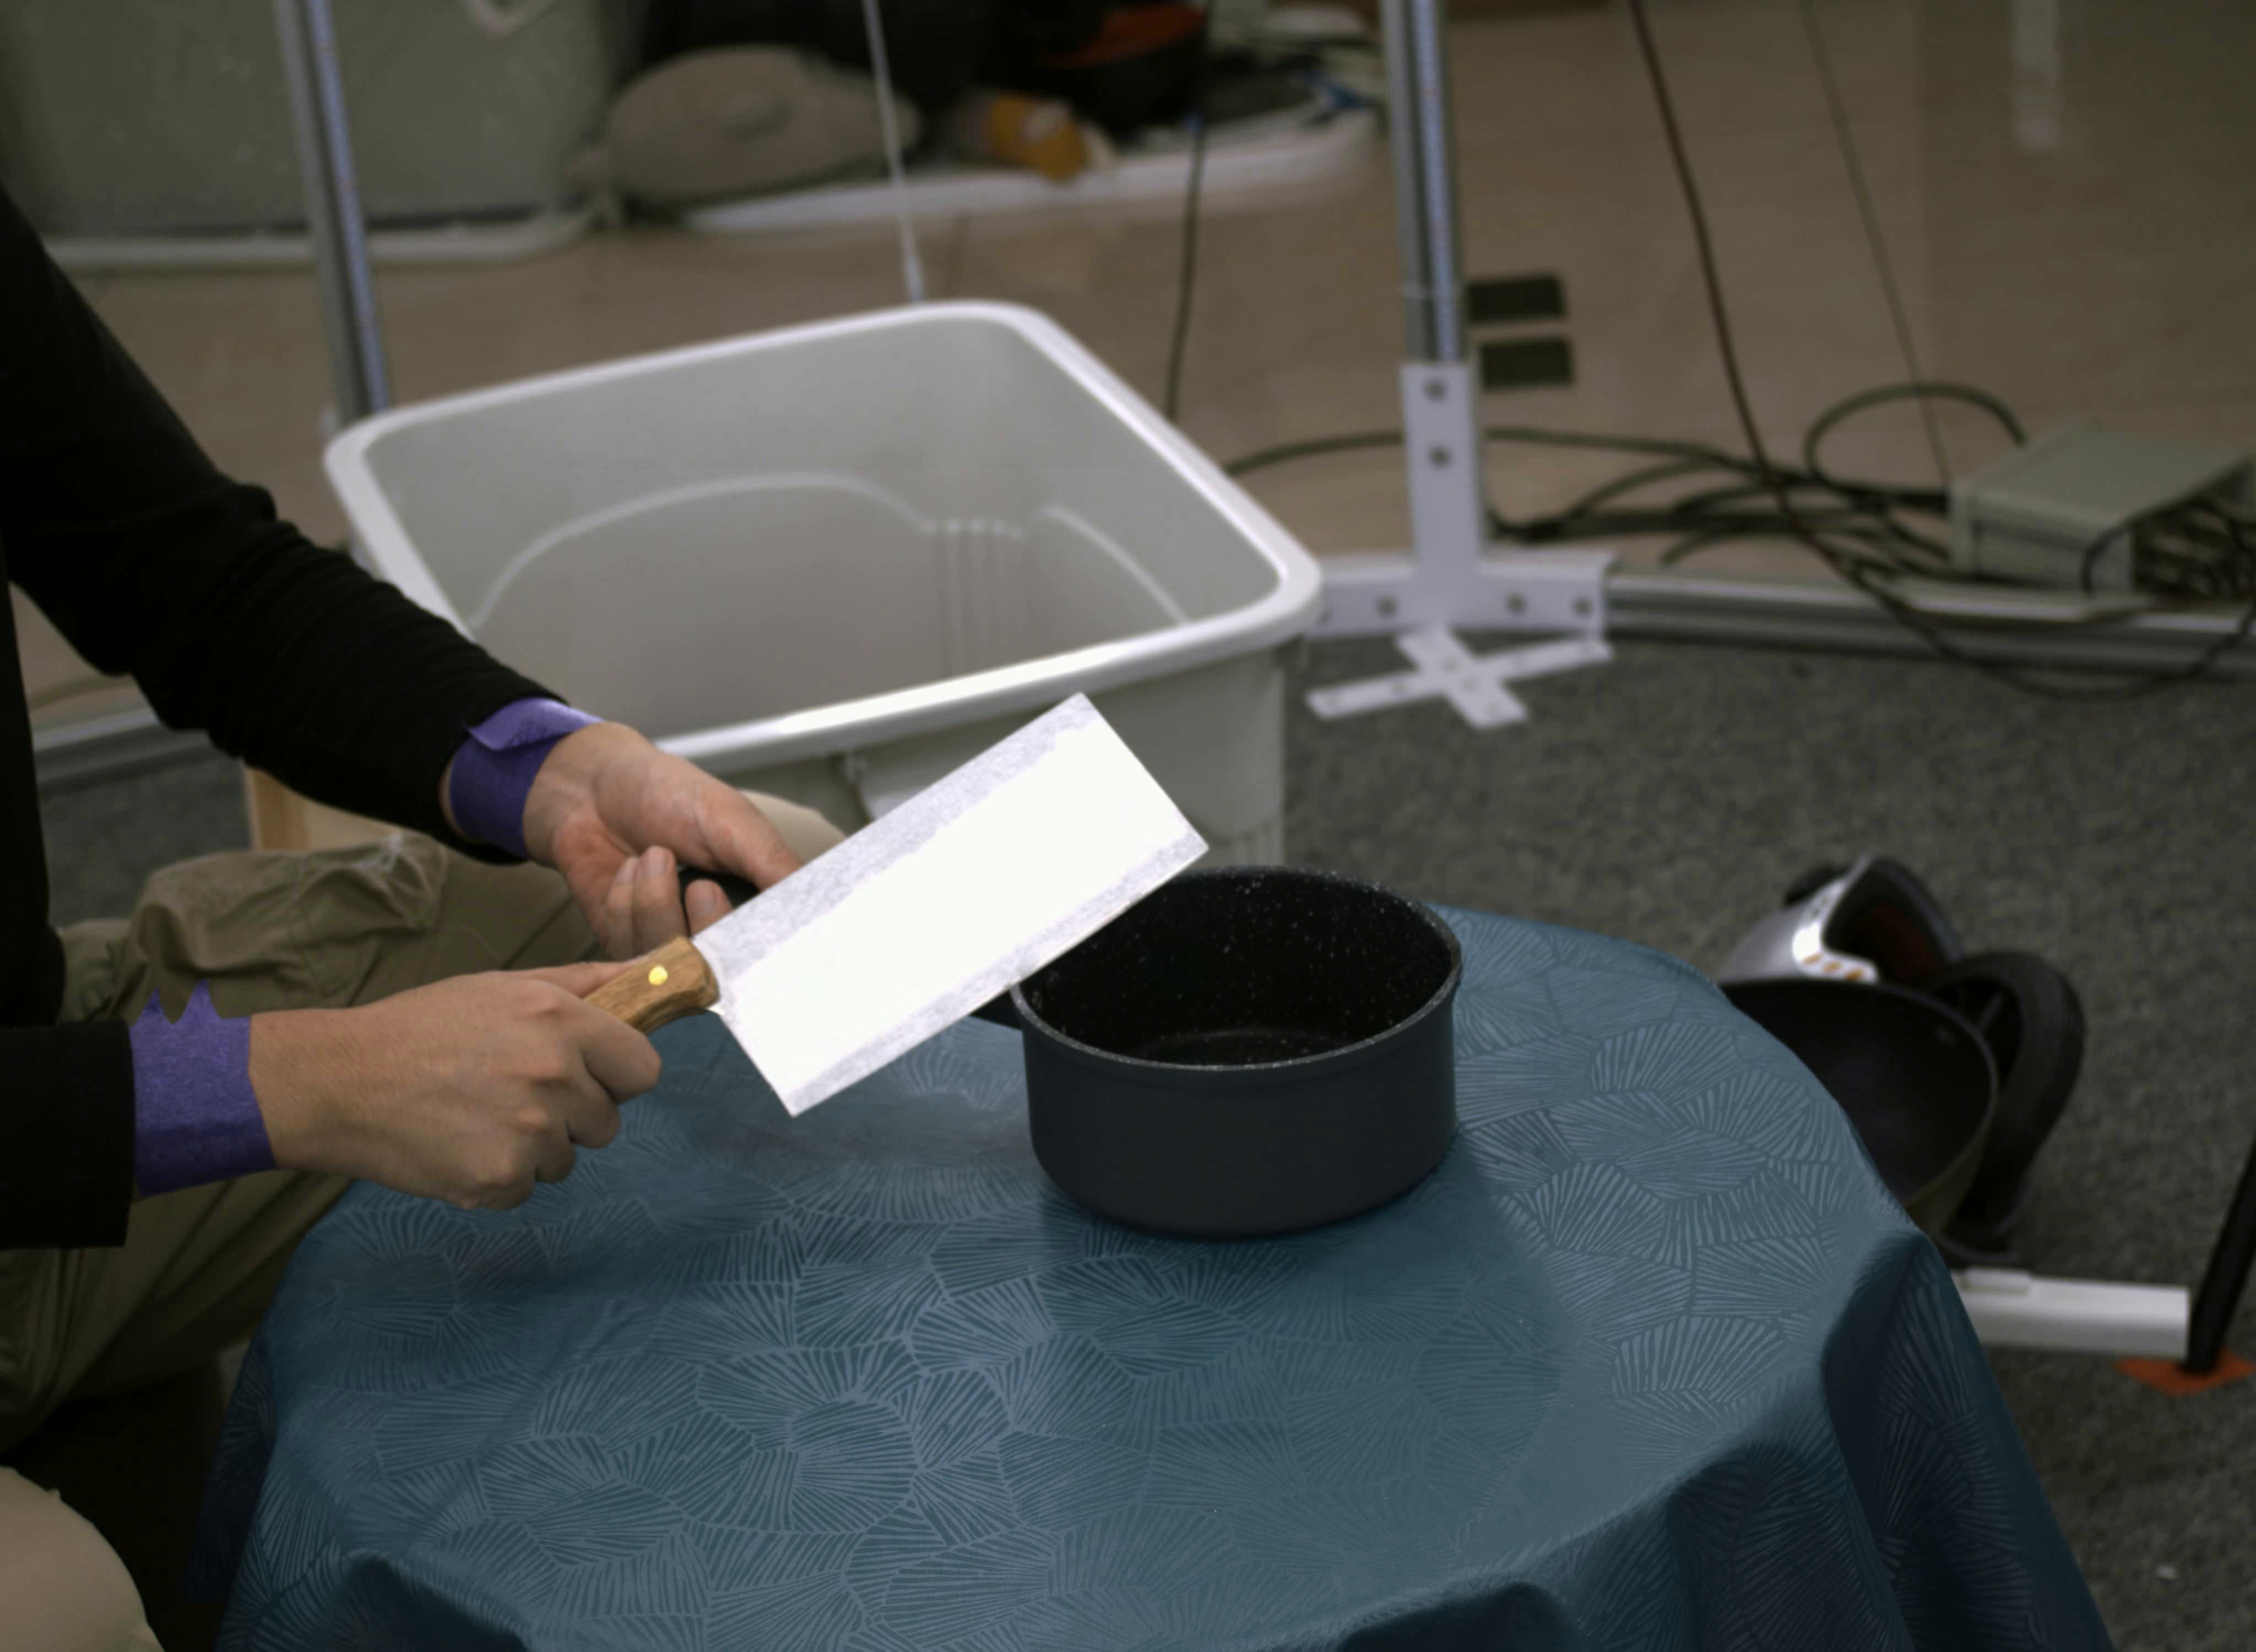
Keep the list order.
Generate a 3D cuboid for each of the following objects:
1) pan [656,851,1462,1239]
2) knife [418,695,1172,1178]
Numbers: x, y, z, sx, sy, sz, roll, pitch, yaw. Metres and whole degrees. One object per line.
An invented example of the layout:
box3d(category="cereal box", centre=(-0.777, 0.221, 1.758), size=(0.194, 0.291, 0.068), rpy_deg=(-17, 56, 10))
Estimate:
box3d(category="pan", centre=(-0.030, 0.074, 2.183), size=(0.327, 0.088, 0.170), rpy_deg=(8, 28, 22))
box3d(category="knife", centre=(-0.120, 0.056, 2.134), size=(0.304, 0.021, 0.092), rpy_deg=(-33, 63, -11))
